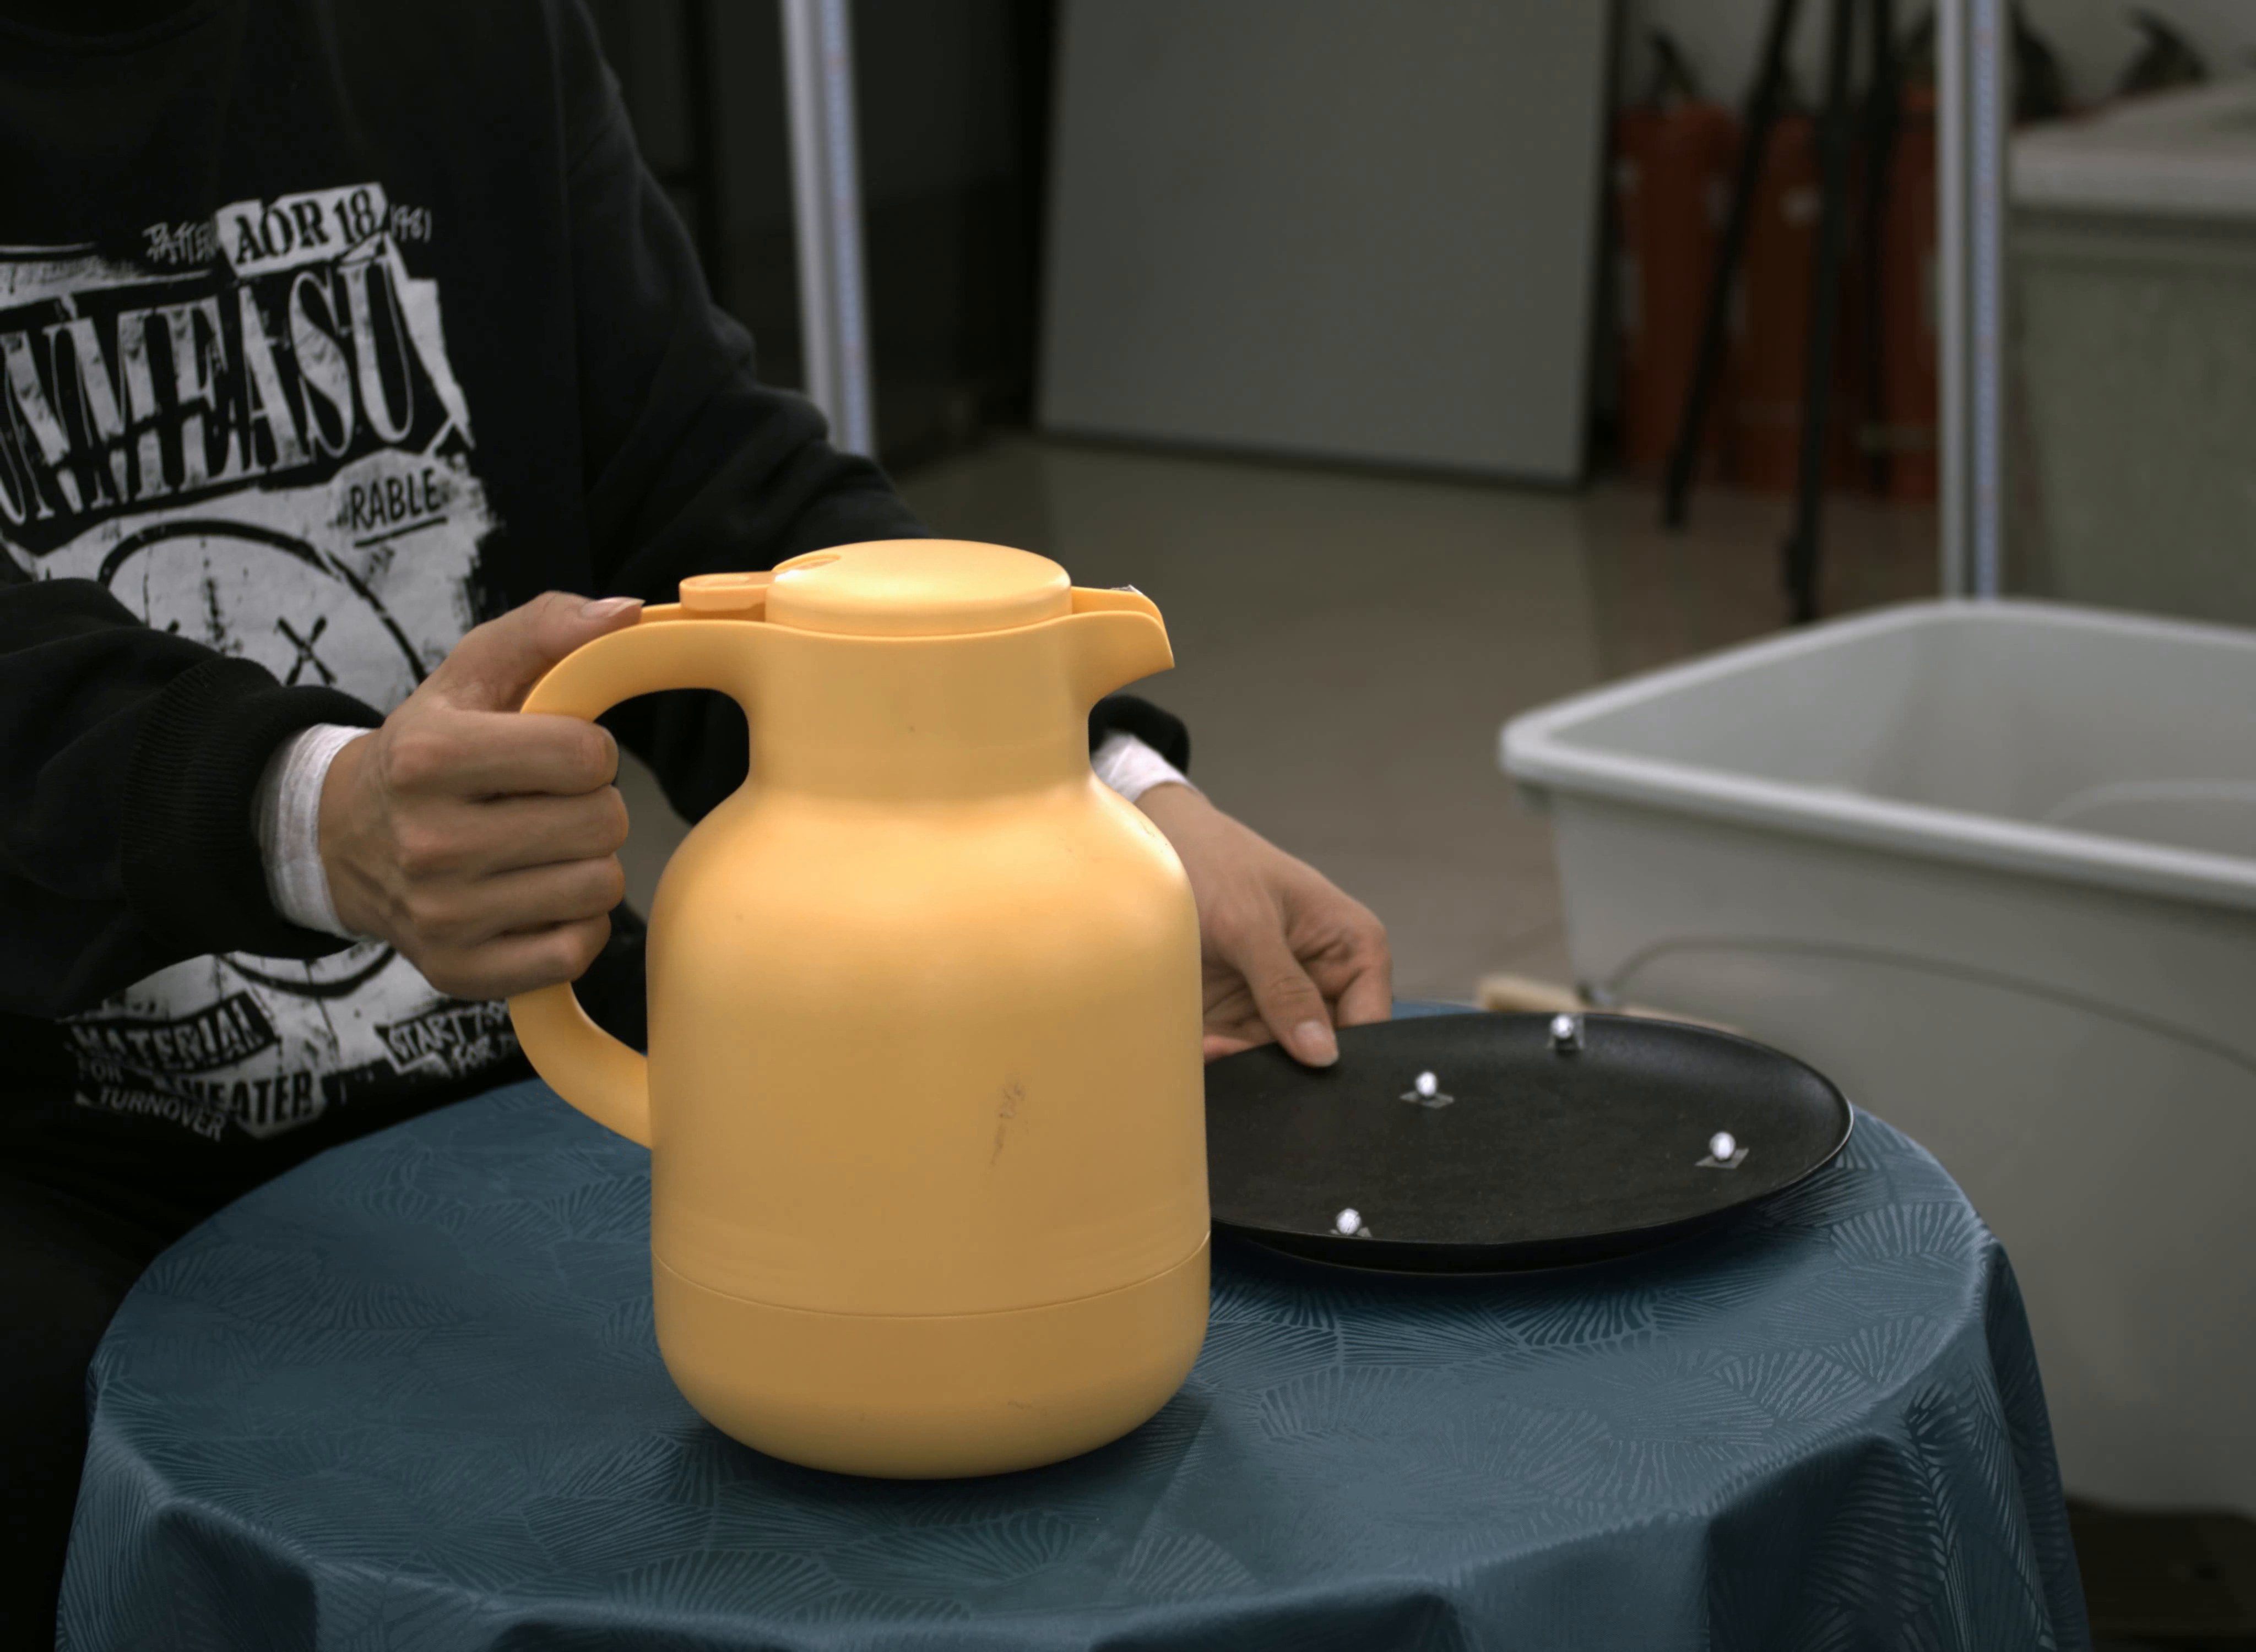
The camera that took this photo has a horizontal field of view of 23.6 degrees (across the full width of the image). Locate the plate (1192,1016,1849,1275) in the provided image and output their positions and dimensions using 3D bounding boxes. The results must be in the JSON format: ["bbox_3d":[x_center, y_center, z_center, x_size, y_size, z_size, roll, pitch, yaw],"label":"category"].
[{"bbox_3d":[0.114,0.106,1.750,0.241,0.024,0.245,-4,14,0],"label":"plate"}]

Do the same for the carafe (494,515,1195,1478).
[{"bbox_3d":[-0.080,0.044,1.545,0.200,0.263,0.163,1,10,3],"label":"carafe"}]
